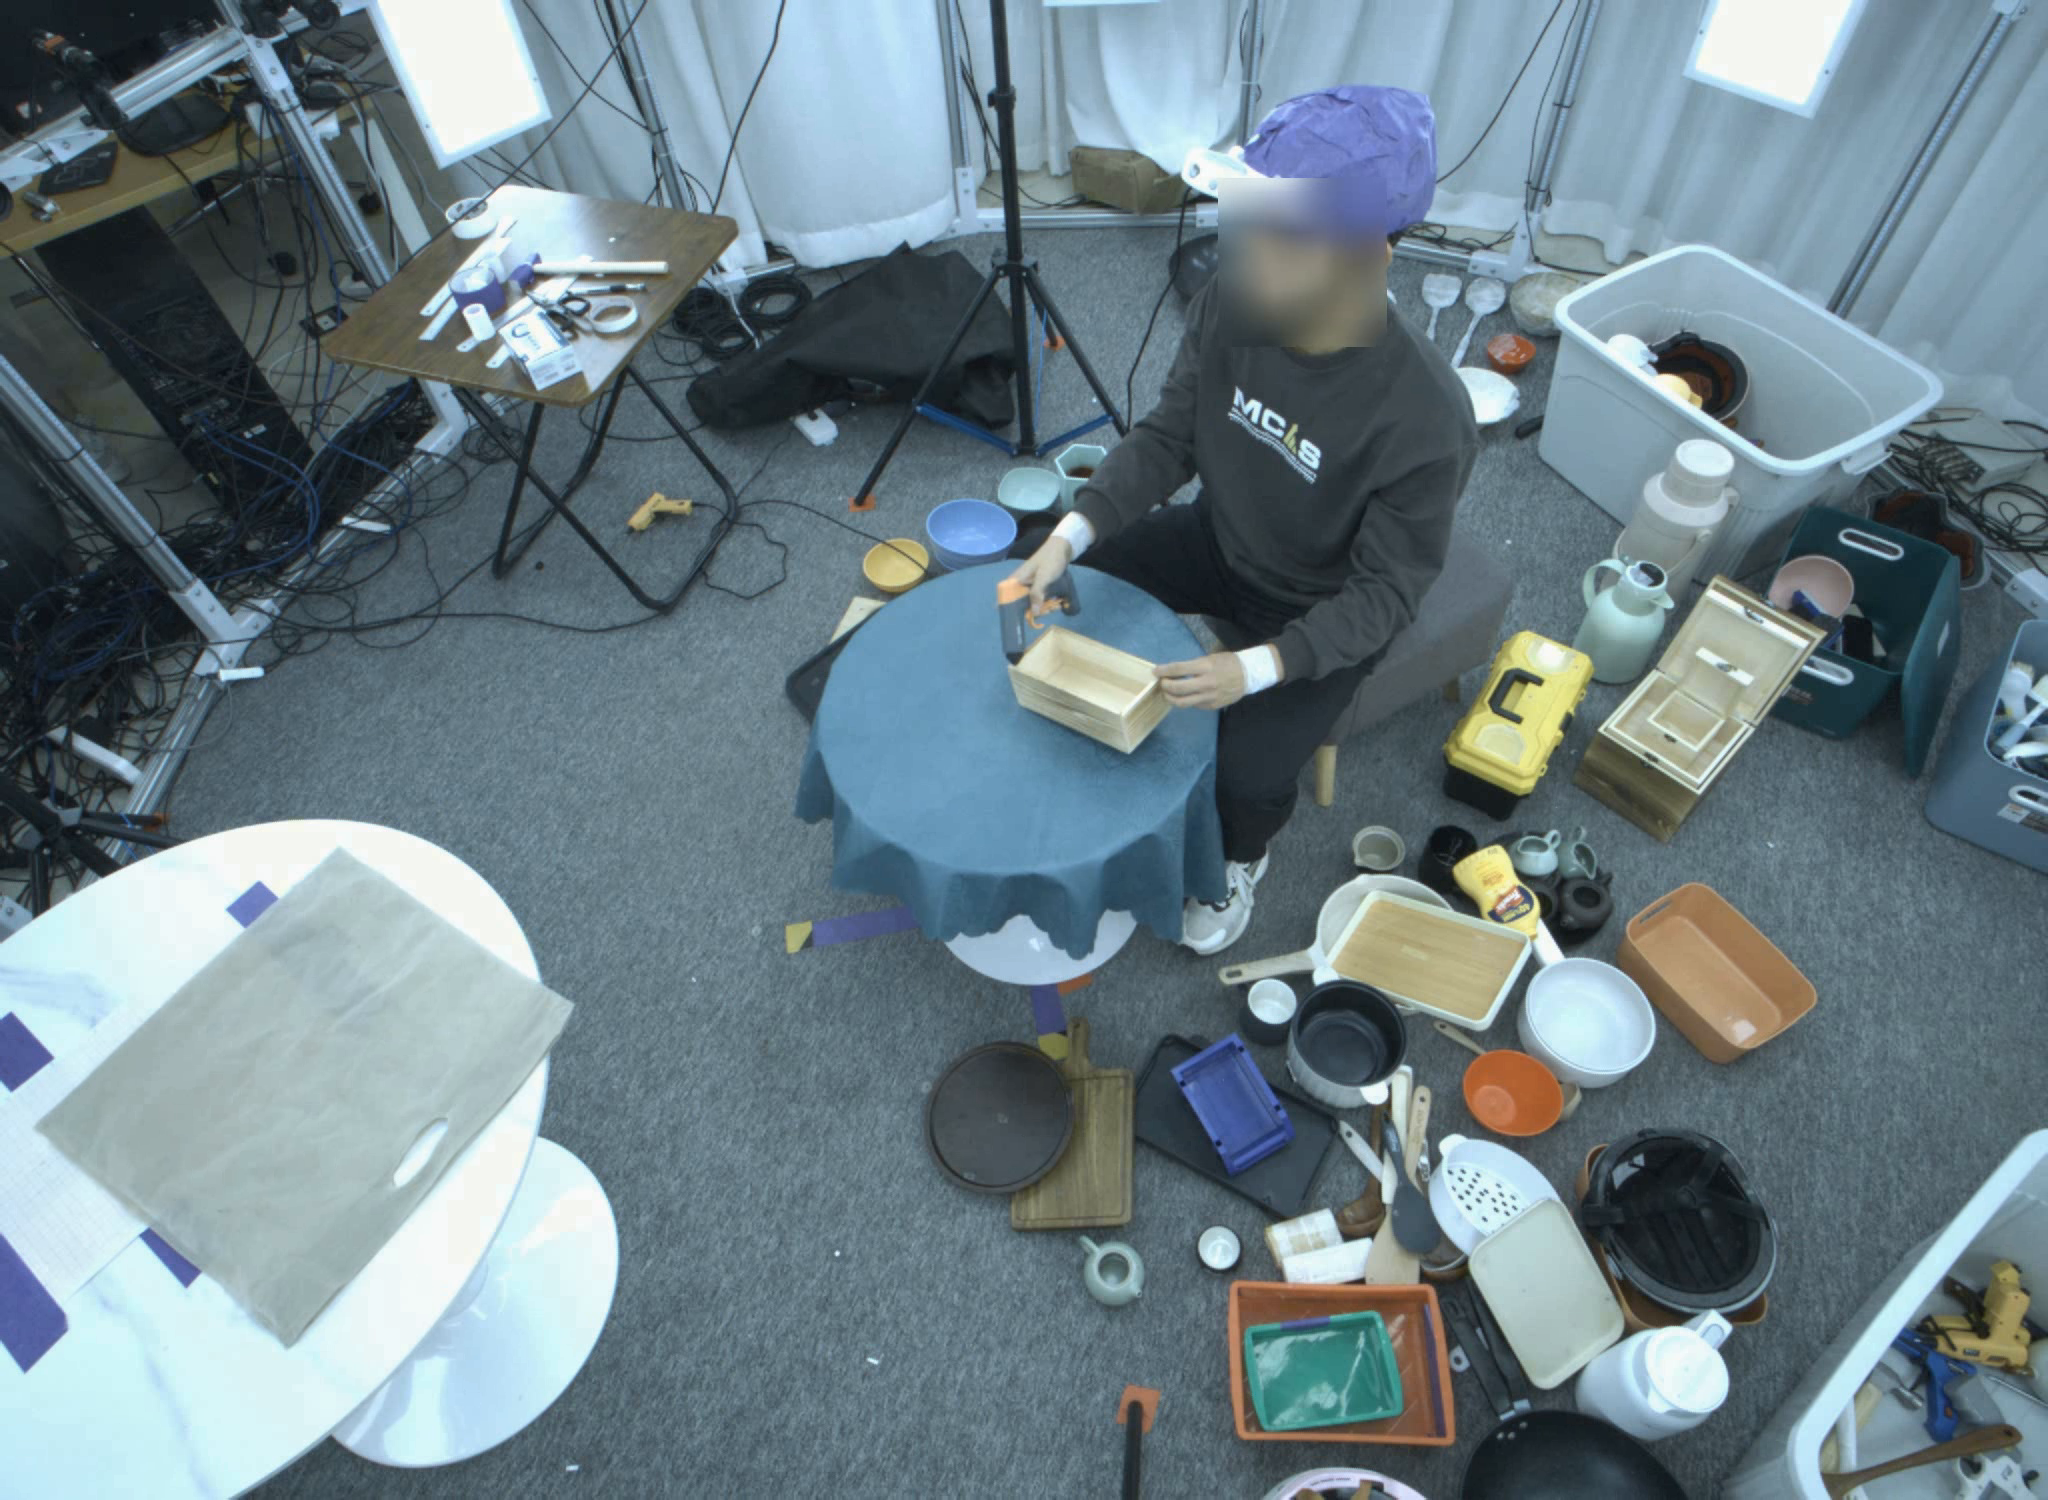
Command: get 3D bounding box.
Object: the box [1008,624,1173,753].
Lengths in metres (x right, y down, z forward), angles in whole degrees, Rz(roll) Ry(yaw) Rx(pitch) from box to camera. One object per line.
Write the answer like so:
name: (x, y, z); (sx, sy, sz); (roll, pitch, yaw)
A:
box: (0.095, -0.091, 1.773); (0.207, 0.081, 0.108); (26, 58, 34)

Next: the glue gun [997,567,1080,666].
glue gun: (0.014, -0.201, 1.787); (0.141, 0.119, 0.040); (-32, 27, -31)
